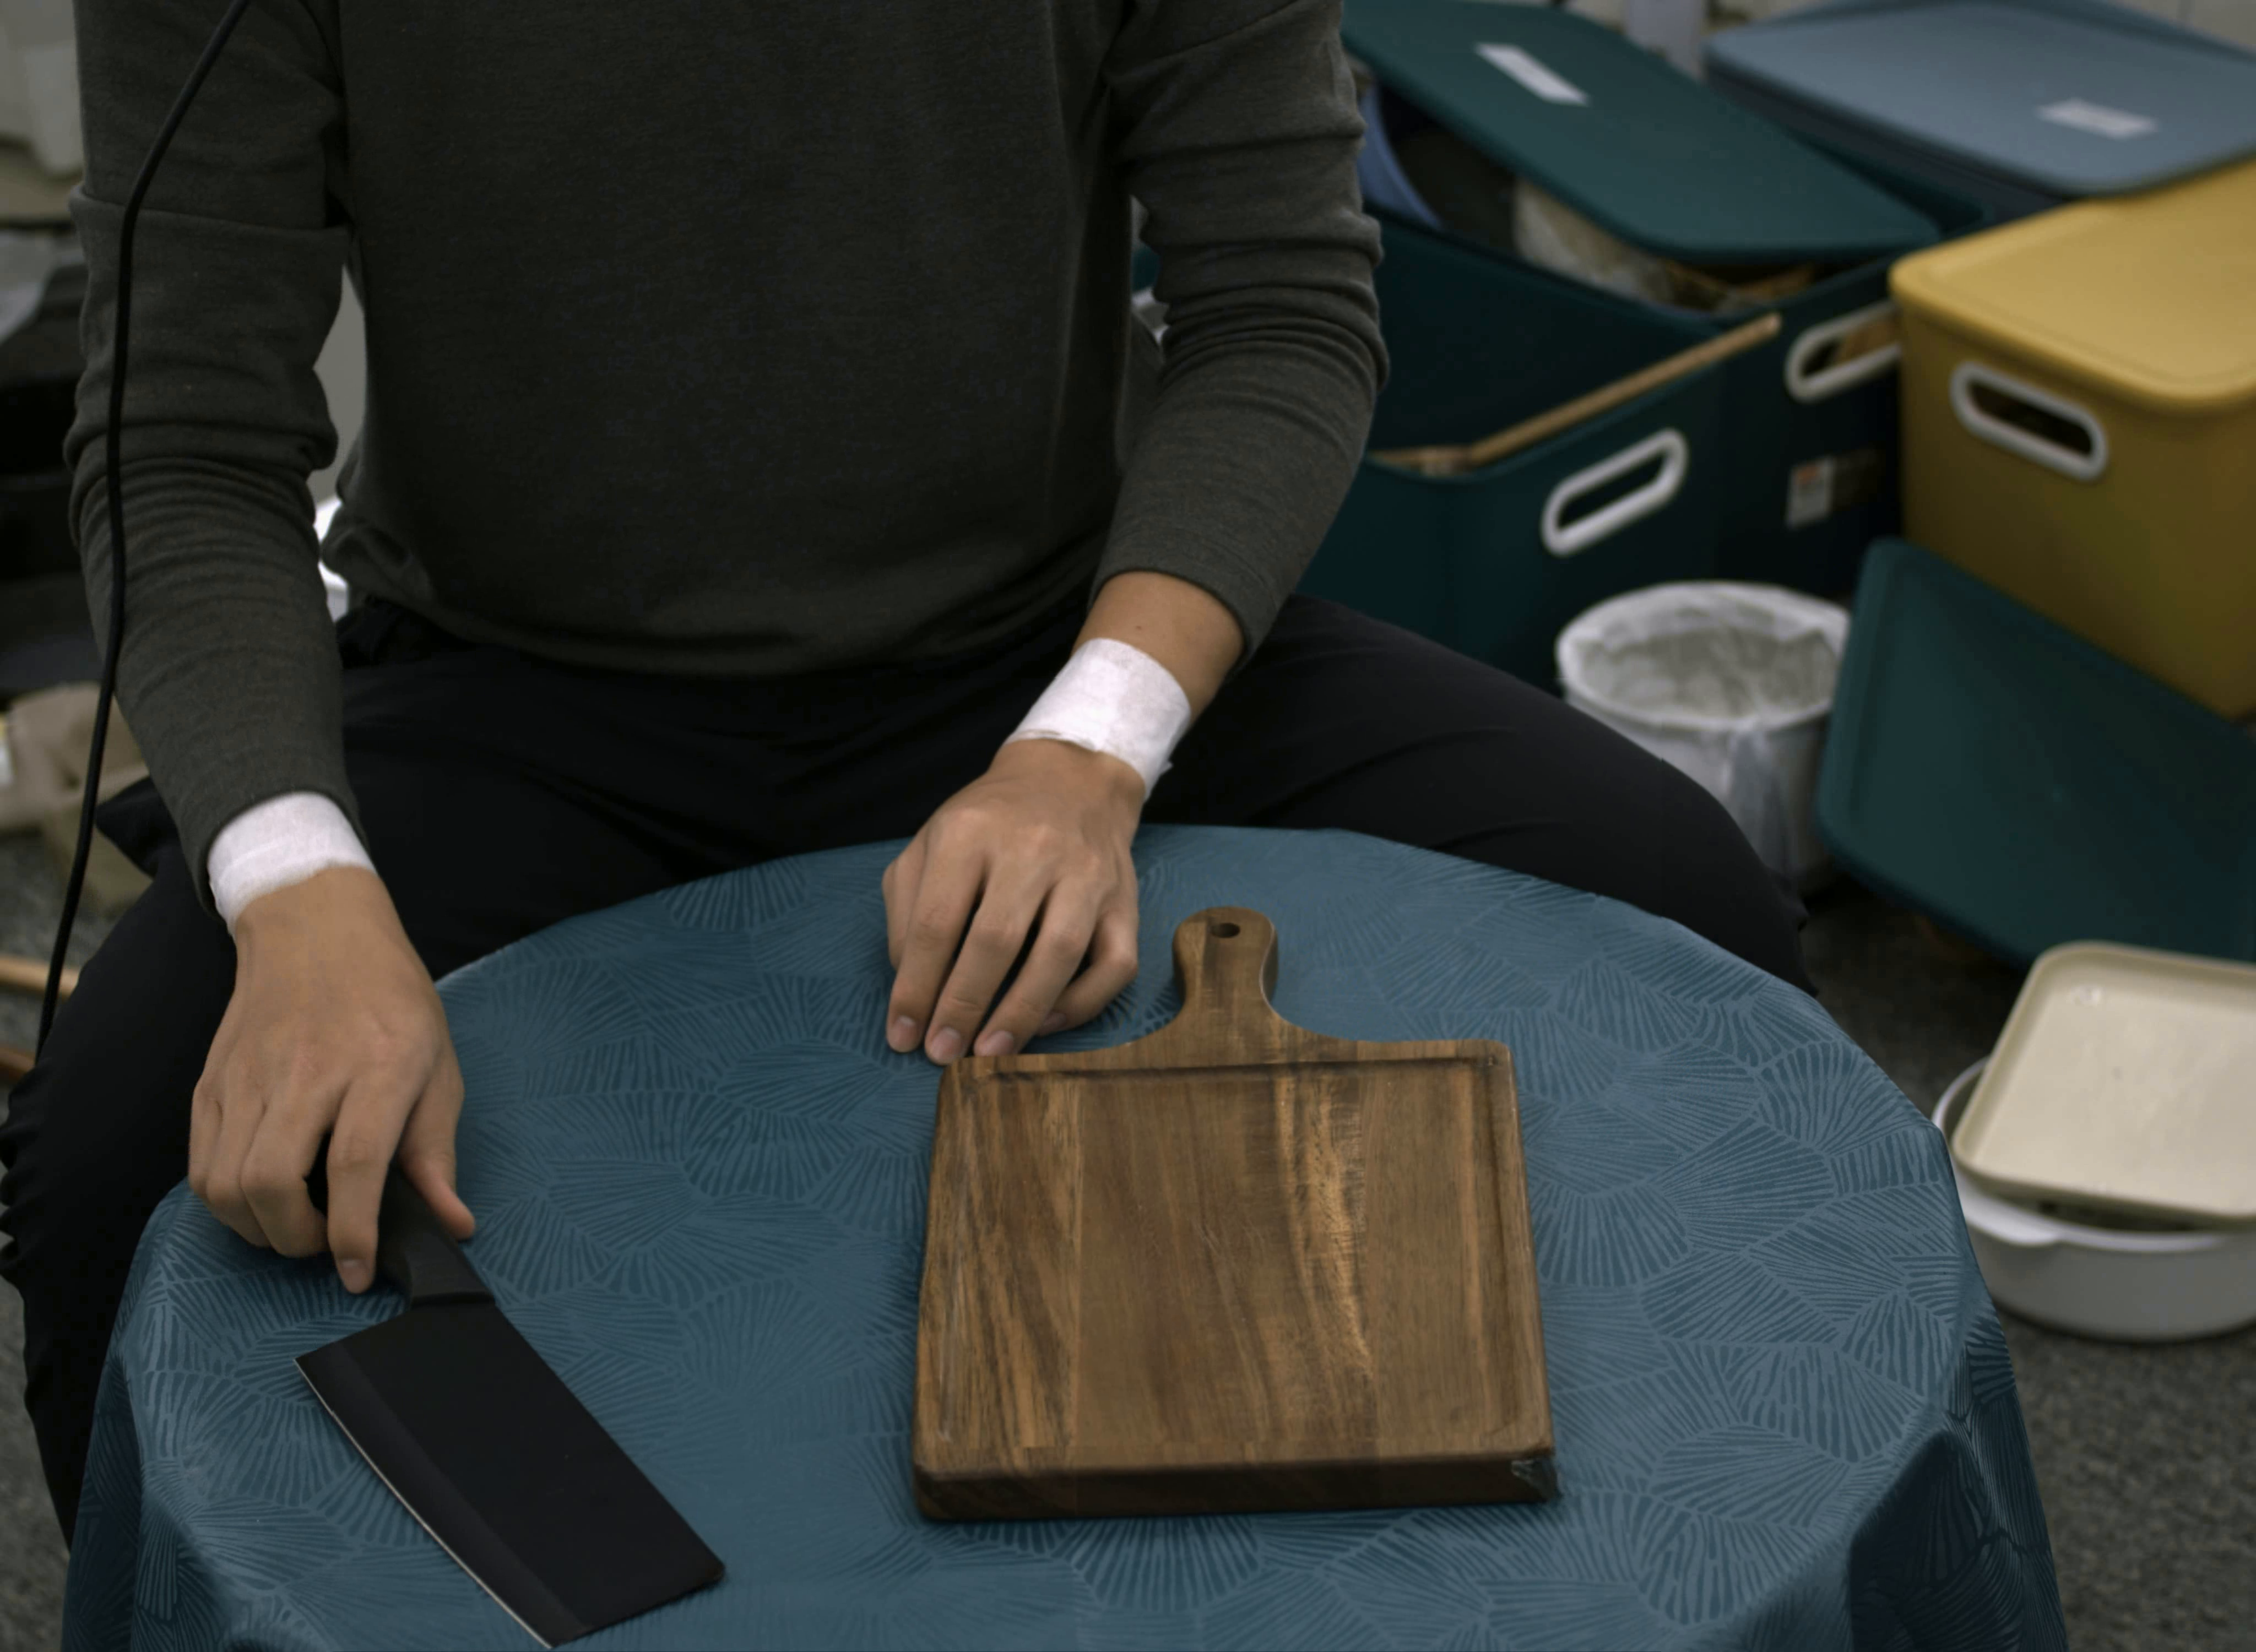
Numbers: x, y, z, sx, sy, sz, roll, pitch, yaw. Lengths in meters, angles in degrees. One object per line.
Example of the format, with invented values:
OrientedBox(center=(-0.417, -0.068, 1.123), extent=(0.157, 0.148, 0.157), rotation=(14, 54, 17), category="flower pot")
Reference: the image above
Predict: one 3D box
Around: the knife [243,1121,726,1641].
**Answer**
OrientedBox(center=(-0.218, 0.171, 1.772), extent=(0.081, 0.020, 0.304), rotation=(-16, 32, -21), category="knife")

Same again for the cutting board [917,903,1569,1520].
OrientedBox(center=(0.033, 0.117, 1.843), extent=(0.200, 0.023, 0.357), rotation=(-2, 27, 1), category="cutting board")
